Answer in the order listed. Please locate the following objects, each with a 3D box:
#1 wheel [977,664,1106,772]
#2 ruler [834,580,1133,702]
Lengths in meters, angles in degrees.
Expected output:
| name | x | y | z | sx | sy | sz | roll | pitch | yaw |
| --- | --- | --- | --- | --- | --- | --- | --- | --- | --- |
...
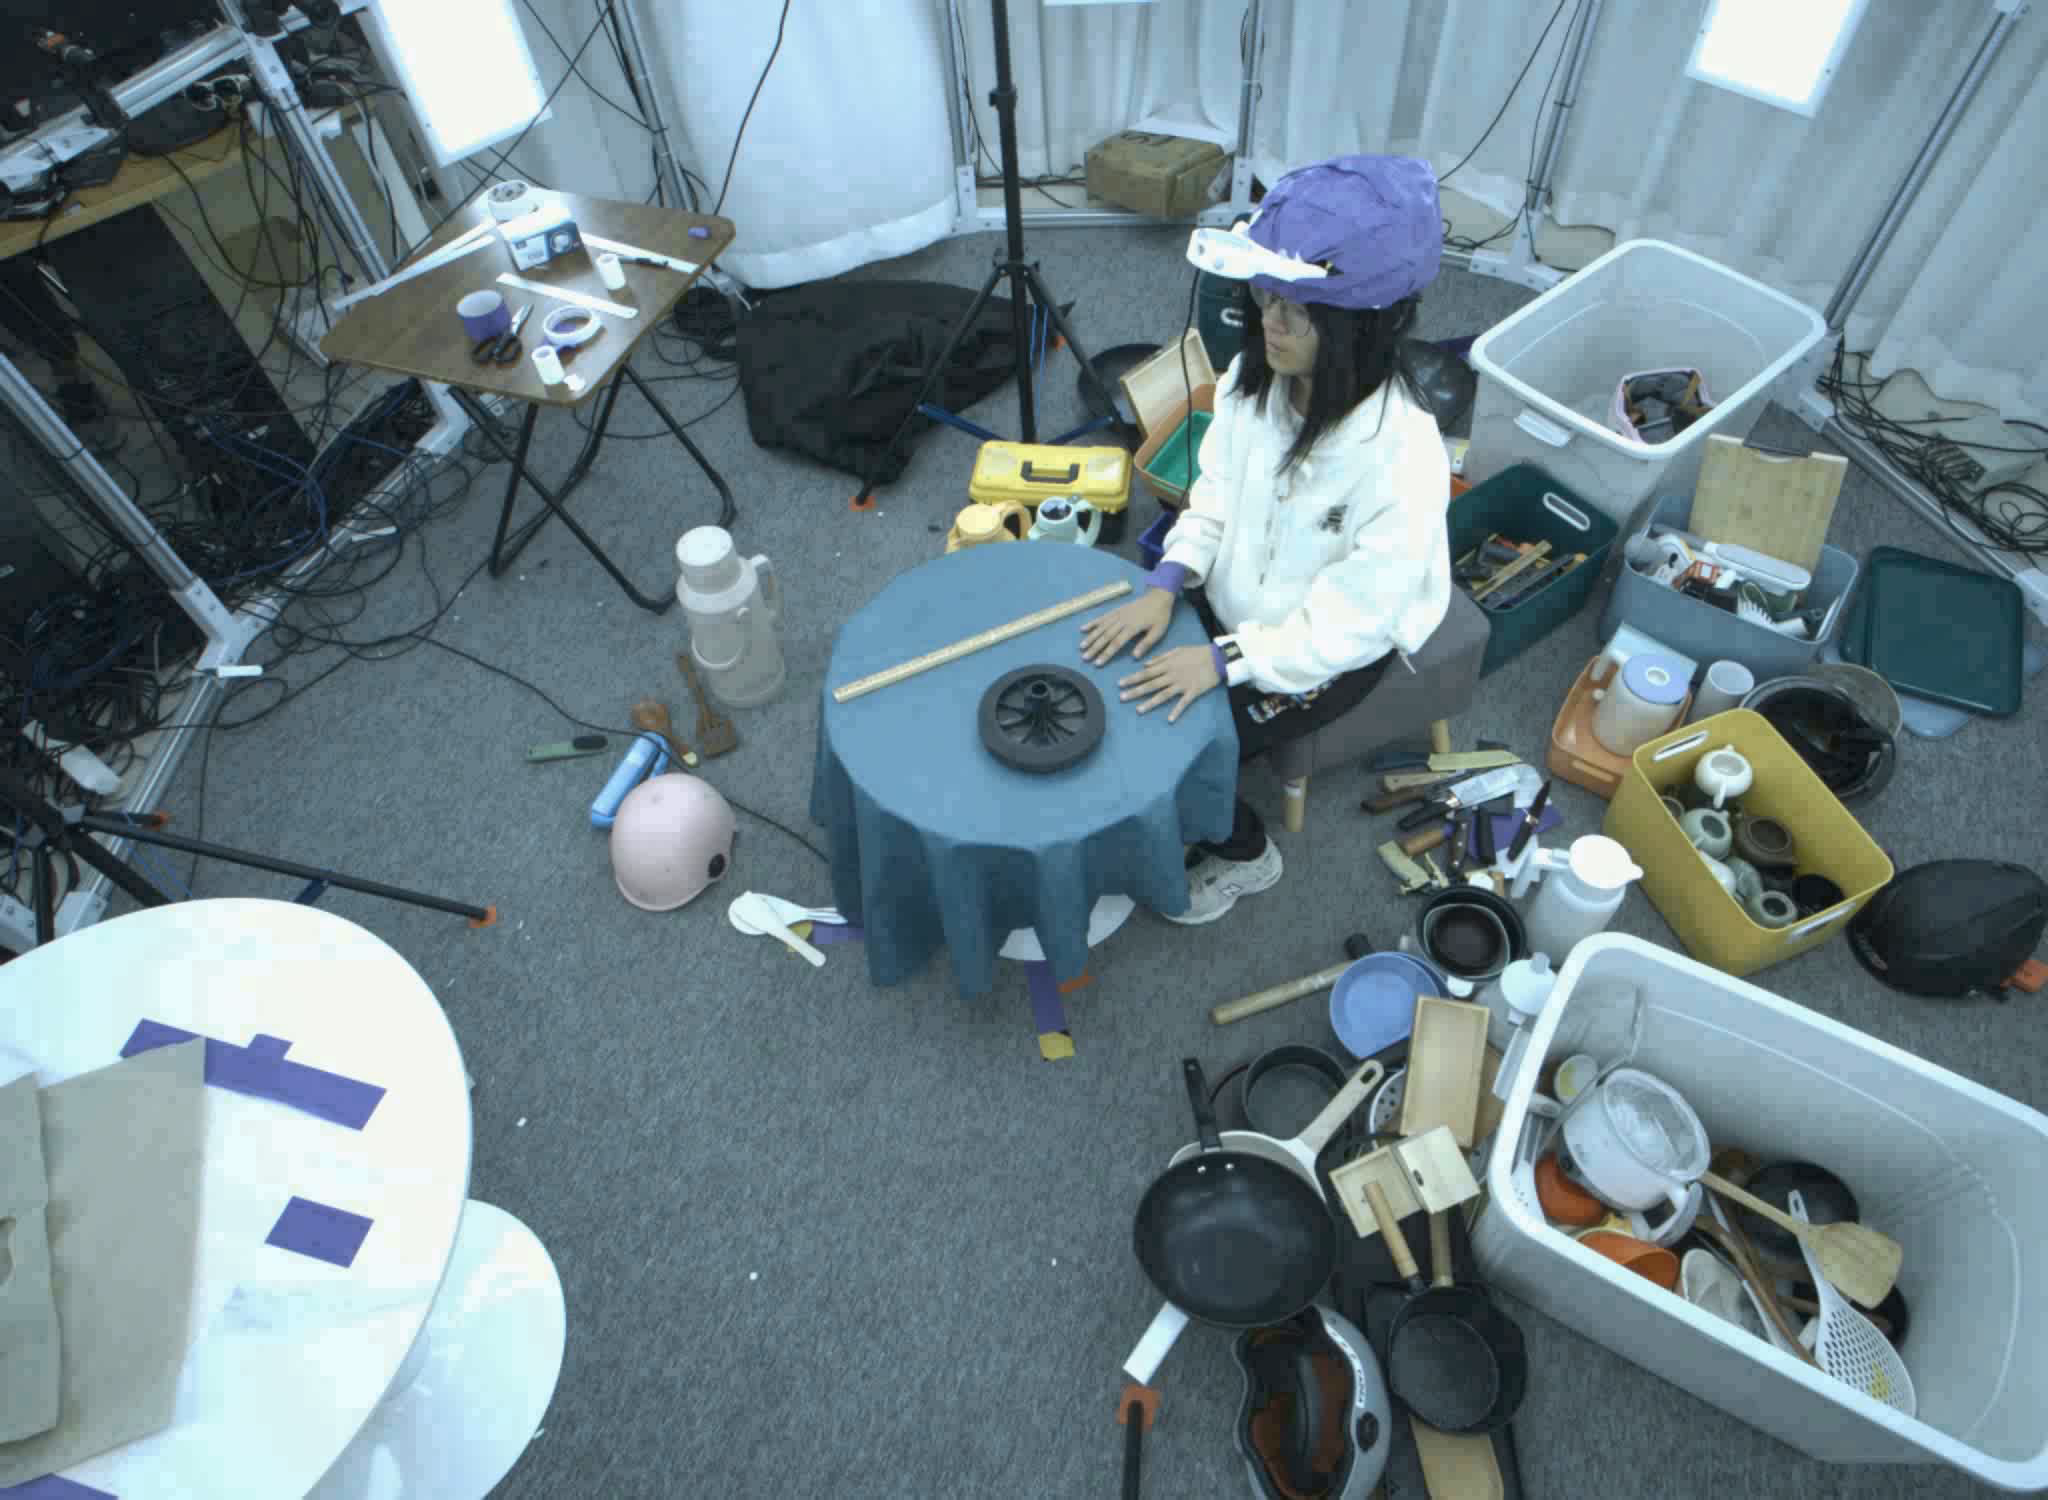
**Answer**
| name | x | y | z | sx | sy | sz | roll | pitch | yaw |
| --- | --- | --- | --- | --- | --- | --- | --- | --- | --- |
| wheel | 0.024 | -0.061 | 1.783 | 0.187 | 0.080 | 0.188 | 30 | 61 | 21 |
| ruler | -0.058 | -0.174 | 1.910 | 0.504 | 0.006 | 0.026 | -22 | 56 | -13 |
